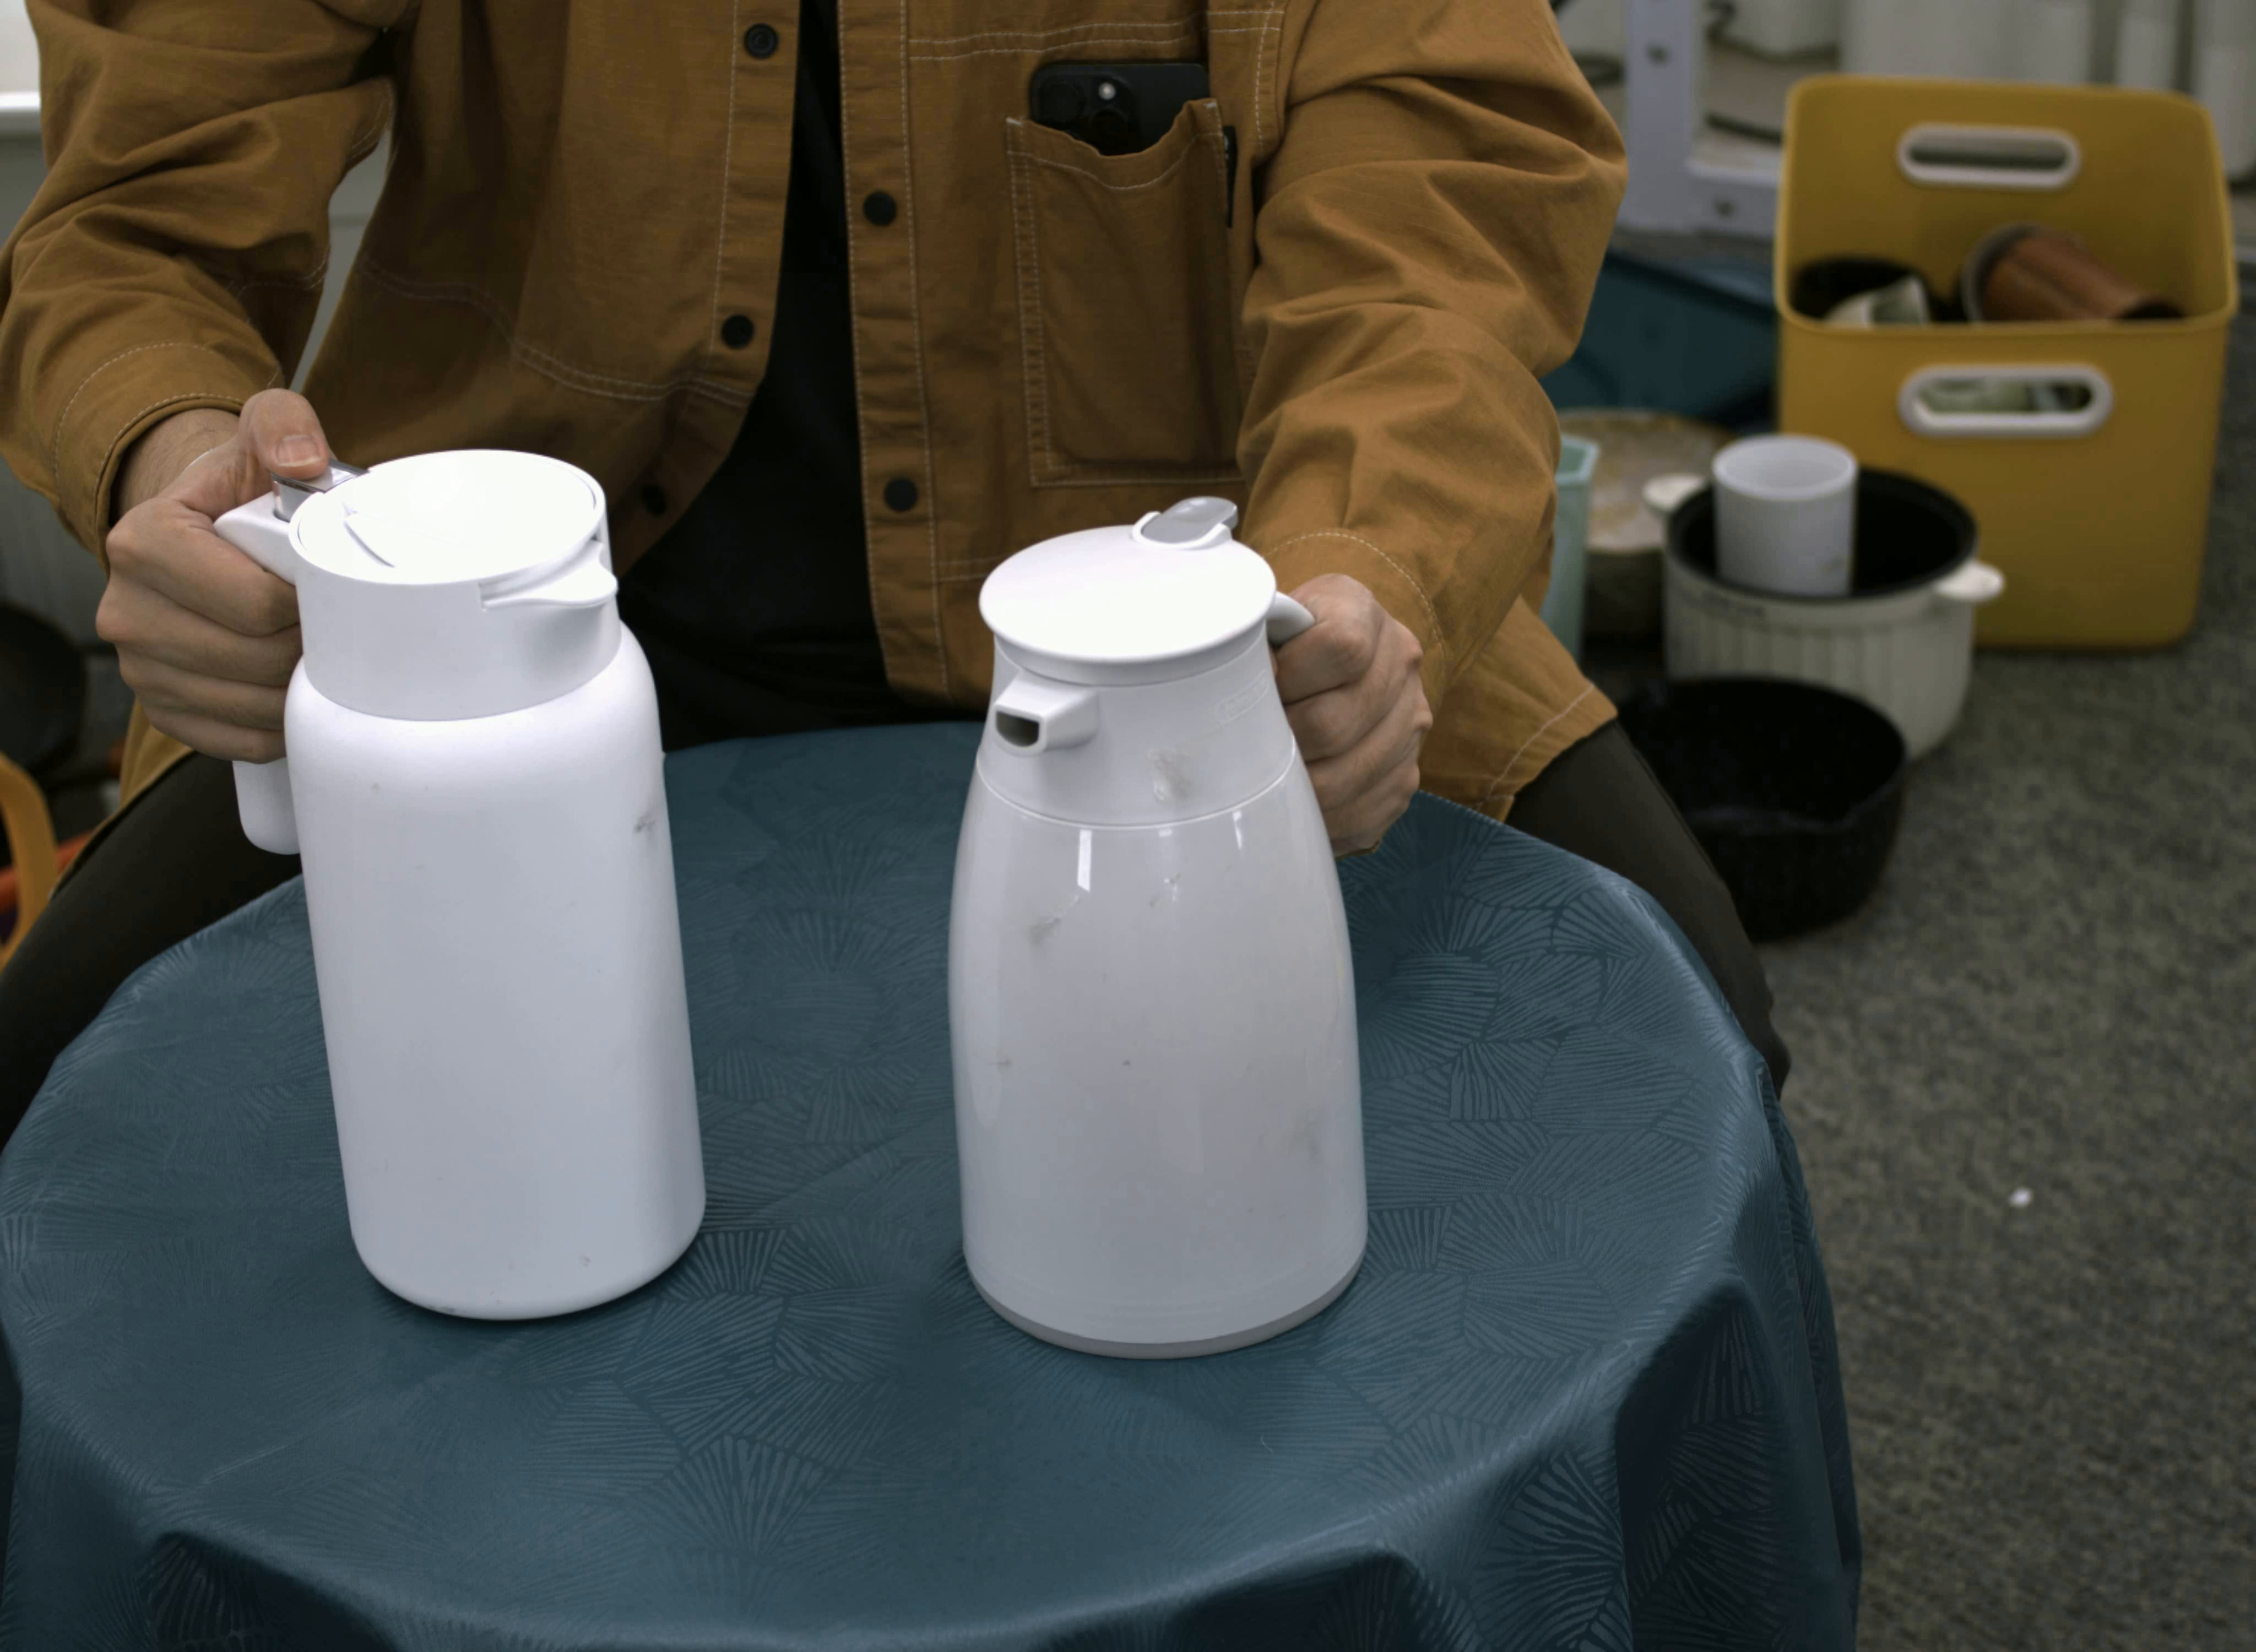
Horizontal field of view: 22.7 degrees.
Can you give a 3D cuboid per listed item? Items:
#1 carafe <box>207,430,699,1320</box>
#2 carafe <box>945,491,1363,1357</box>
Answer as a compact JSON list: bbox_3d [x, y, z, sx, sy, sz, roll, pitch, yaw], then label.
[{"bbox_3d":[-0.218,0.014,1.800,0.172,0.266,0.125,17,35,35],"label":"carafe"},{"bbox_3d":[0.014,0.020,1.786,0.132,0.246,0.170,13,30,29],"label":"carafe"}]
